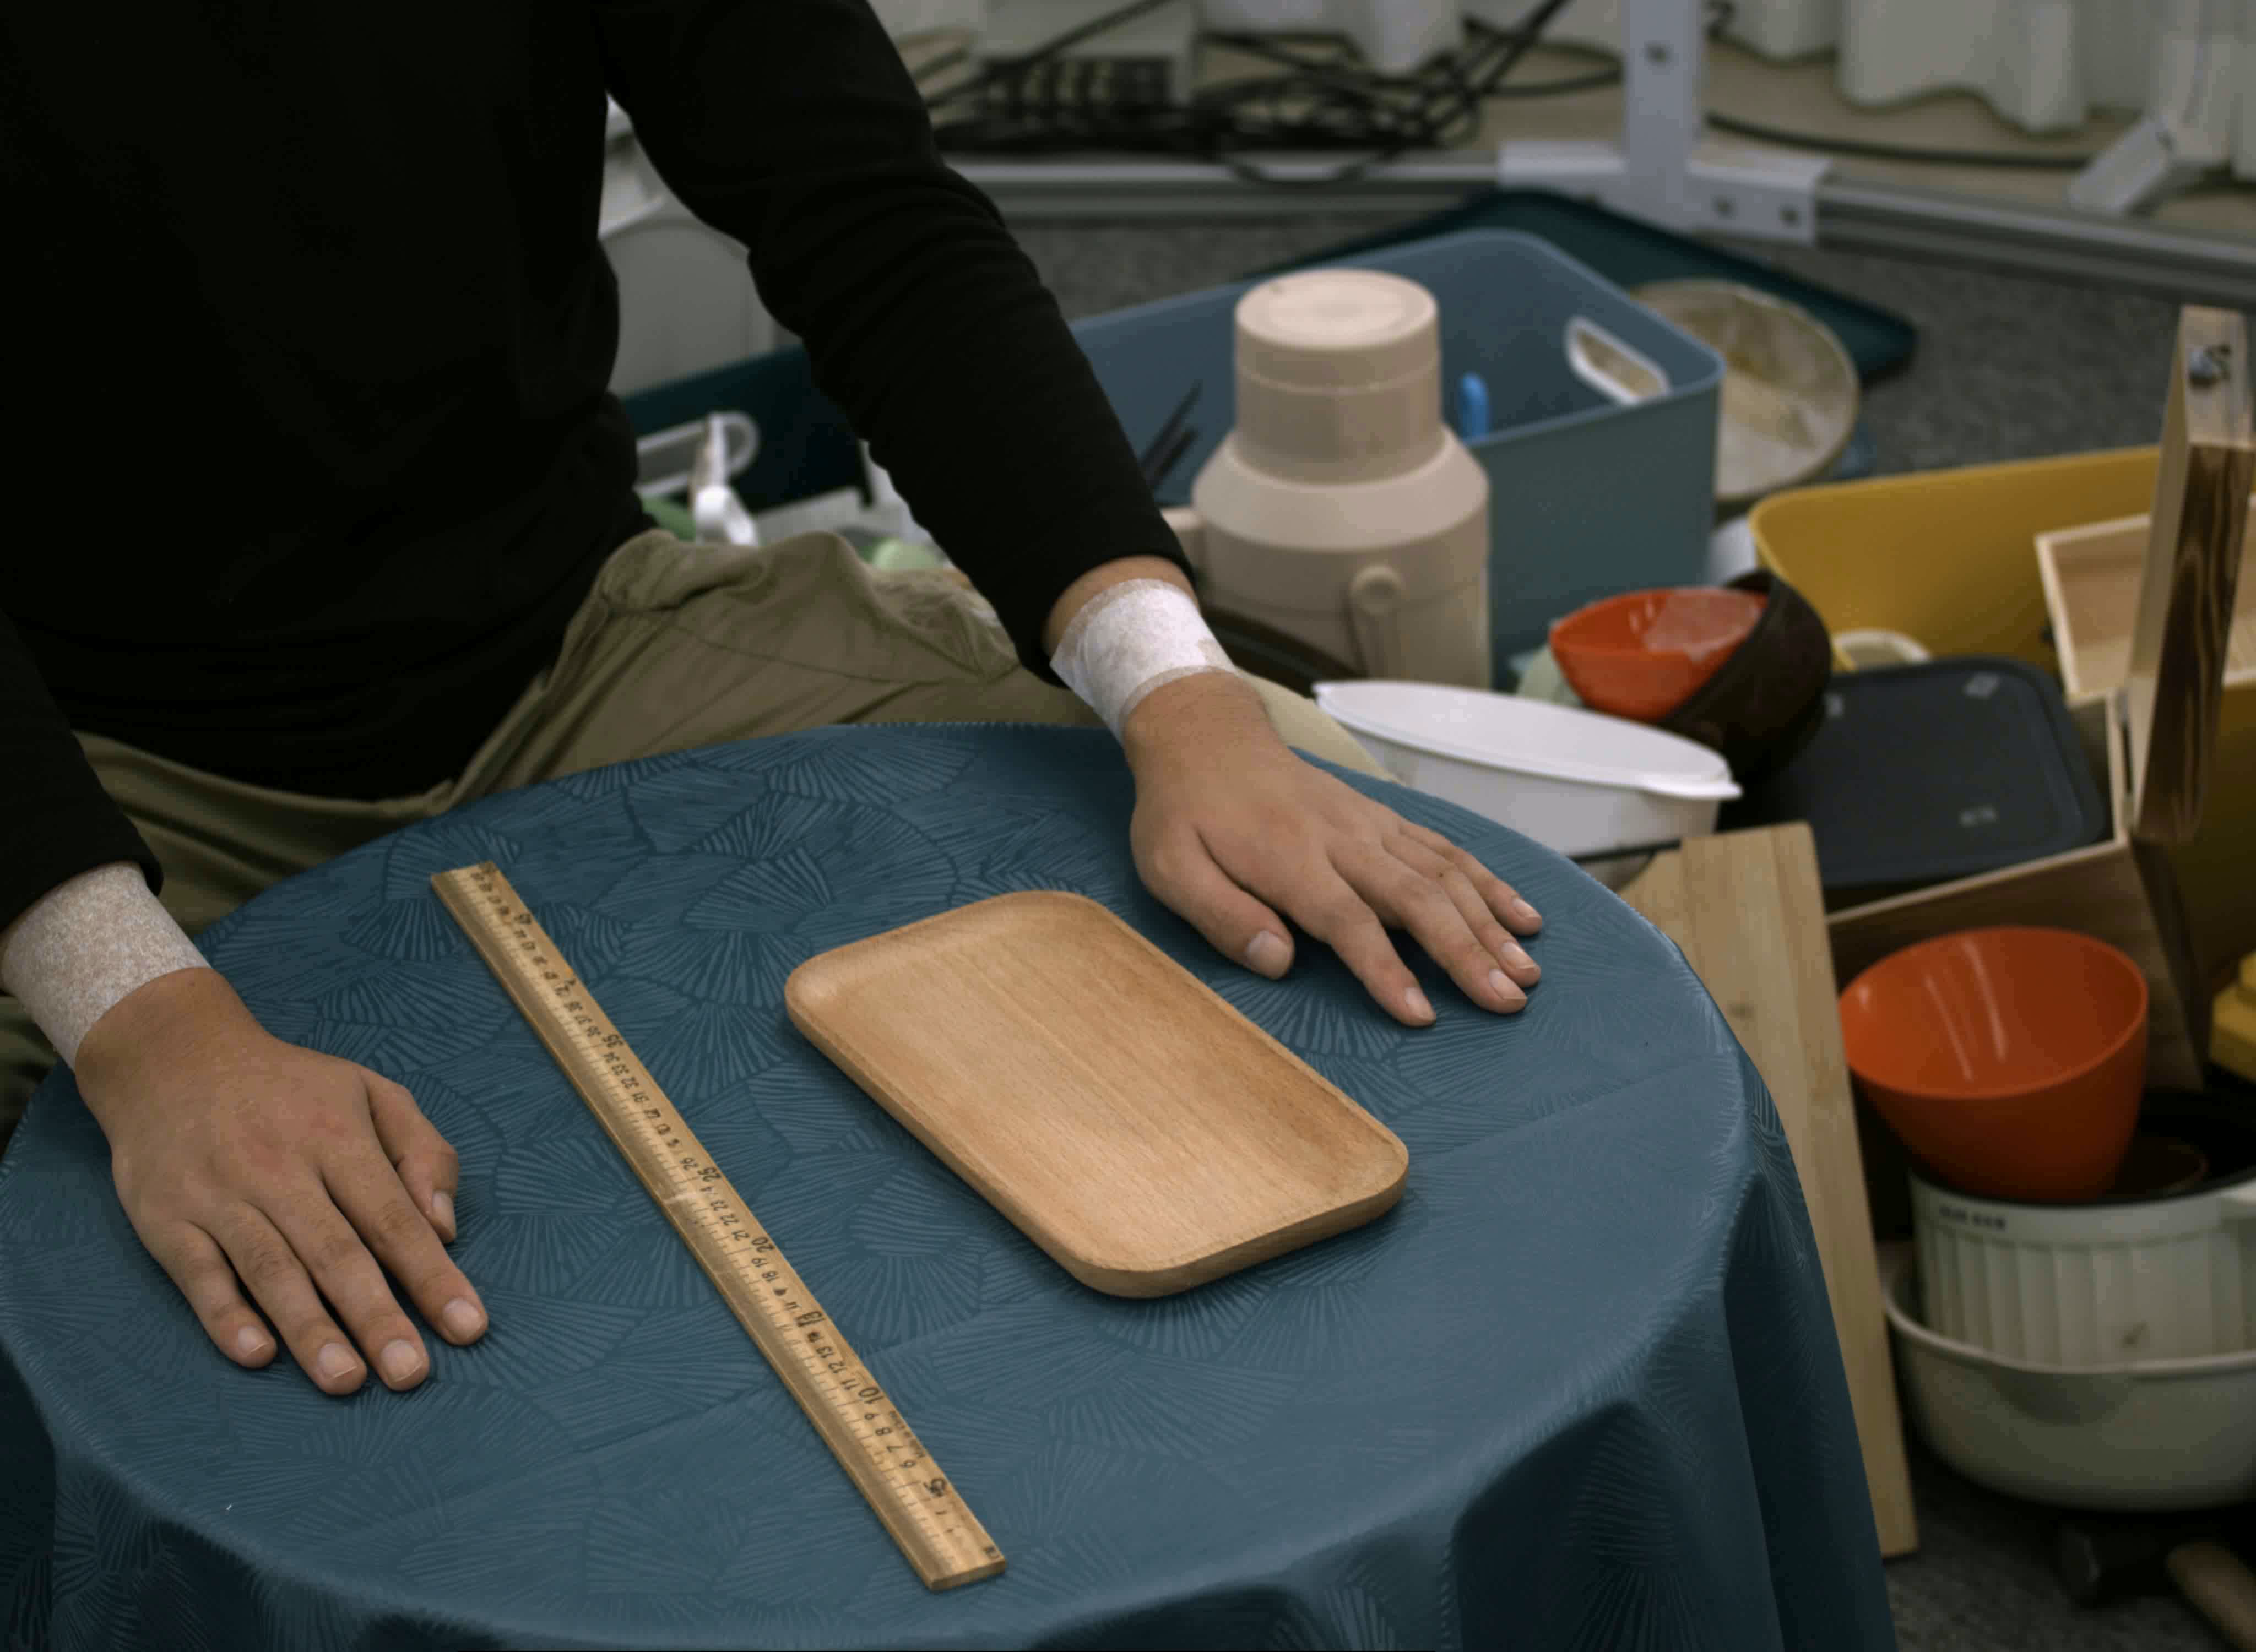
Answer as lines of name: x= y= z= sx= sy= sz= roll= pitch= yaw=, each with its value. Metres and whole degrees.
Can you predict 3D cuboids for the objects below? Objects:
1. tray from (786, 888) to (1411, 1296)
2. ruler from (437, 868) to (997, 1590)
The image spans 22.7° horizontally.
tray: x=-0.013 y=0.088 z=1.910 sx=0.131 sy=0.022 sz=0.252 roll=-15 pitch=28 yaw=-25
ruler: x=-0.146 y=0.121 z=1.872 sx=0.027 sy=0.006 sz=0.504 roll=-11 pitch=28 yaw=-20
